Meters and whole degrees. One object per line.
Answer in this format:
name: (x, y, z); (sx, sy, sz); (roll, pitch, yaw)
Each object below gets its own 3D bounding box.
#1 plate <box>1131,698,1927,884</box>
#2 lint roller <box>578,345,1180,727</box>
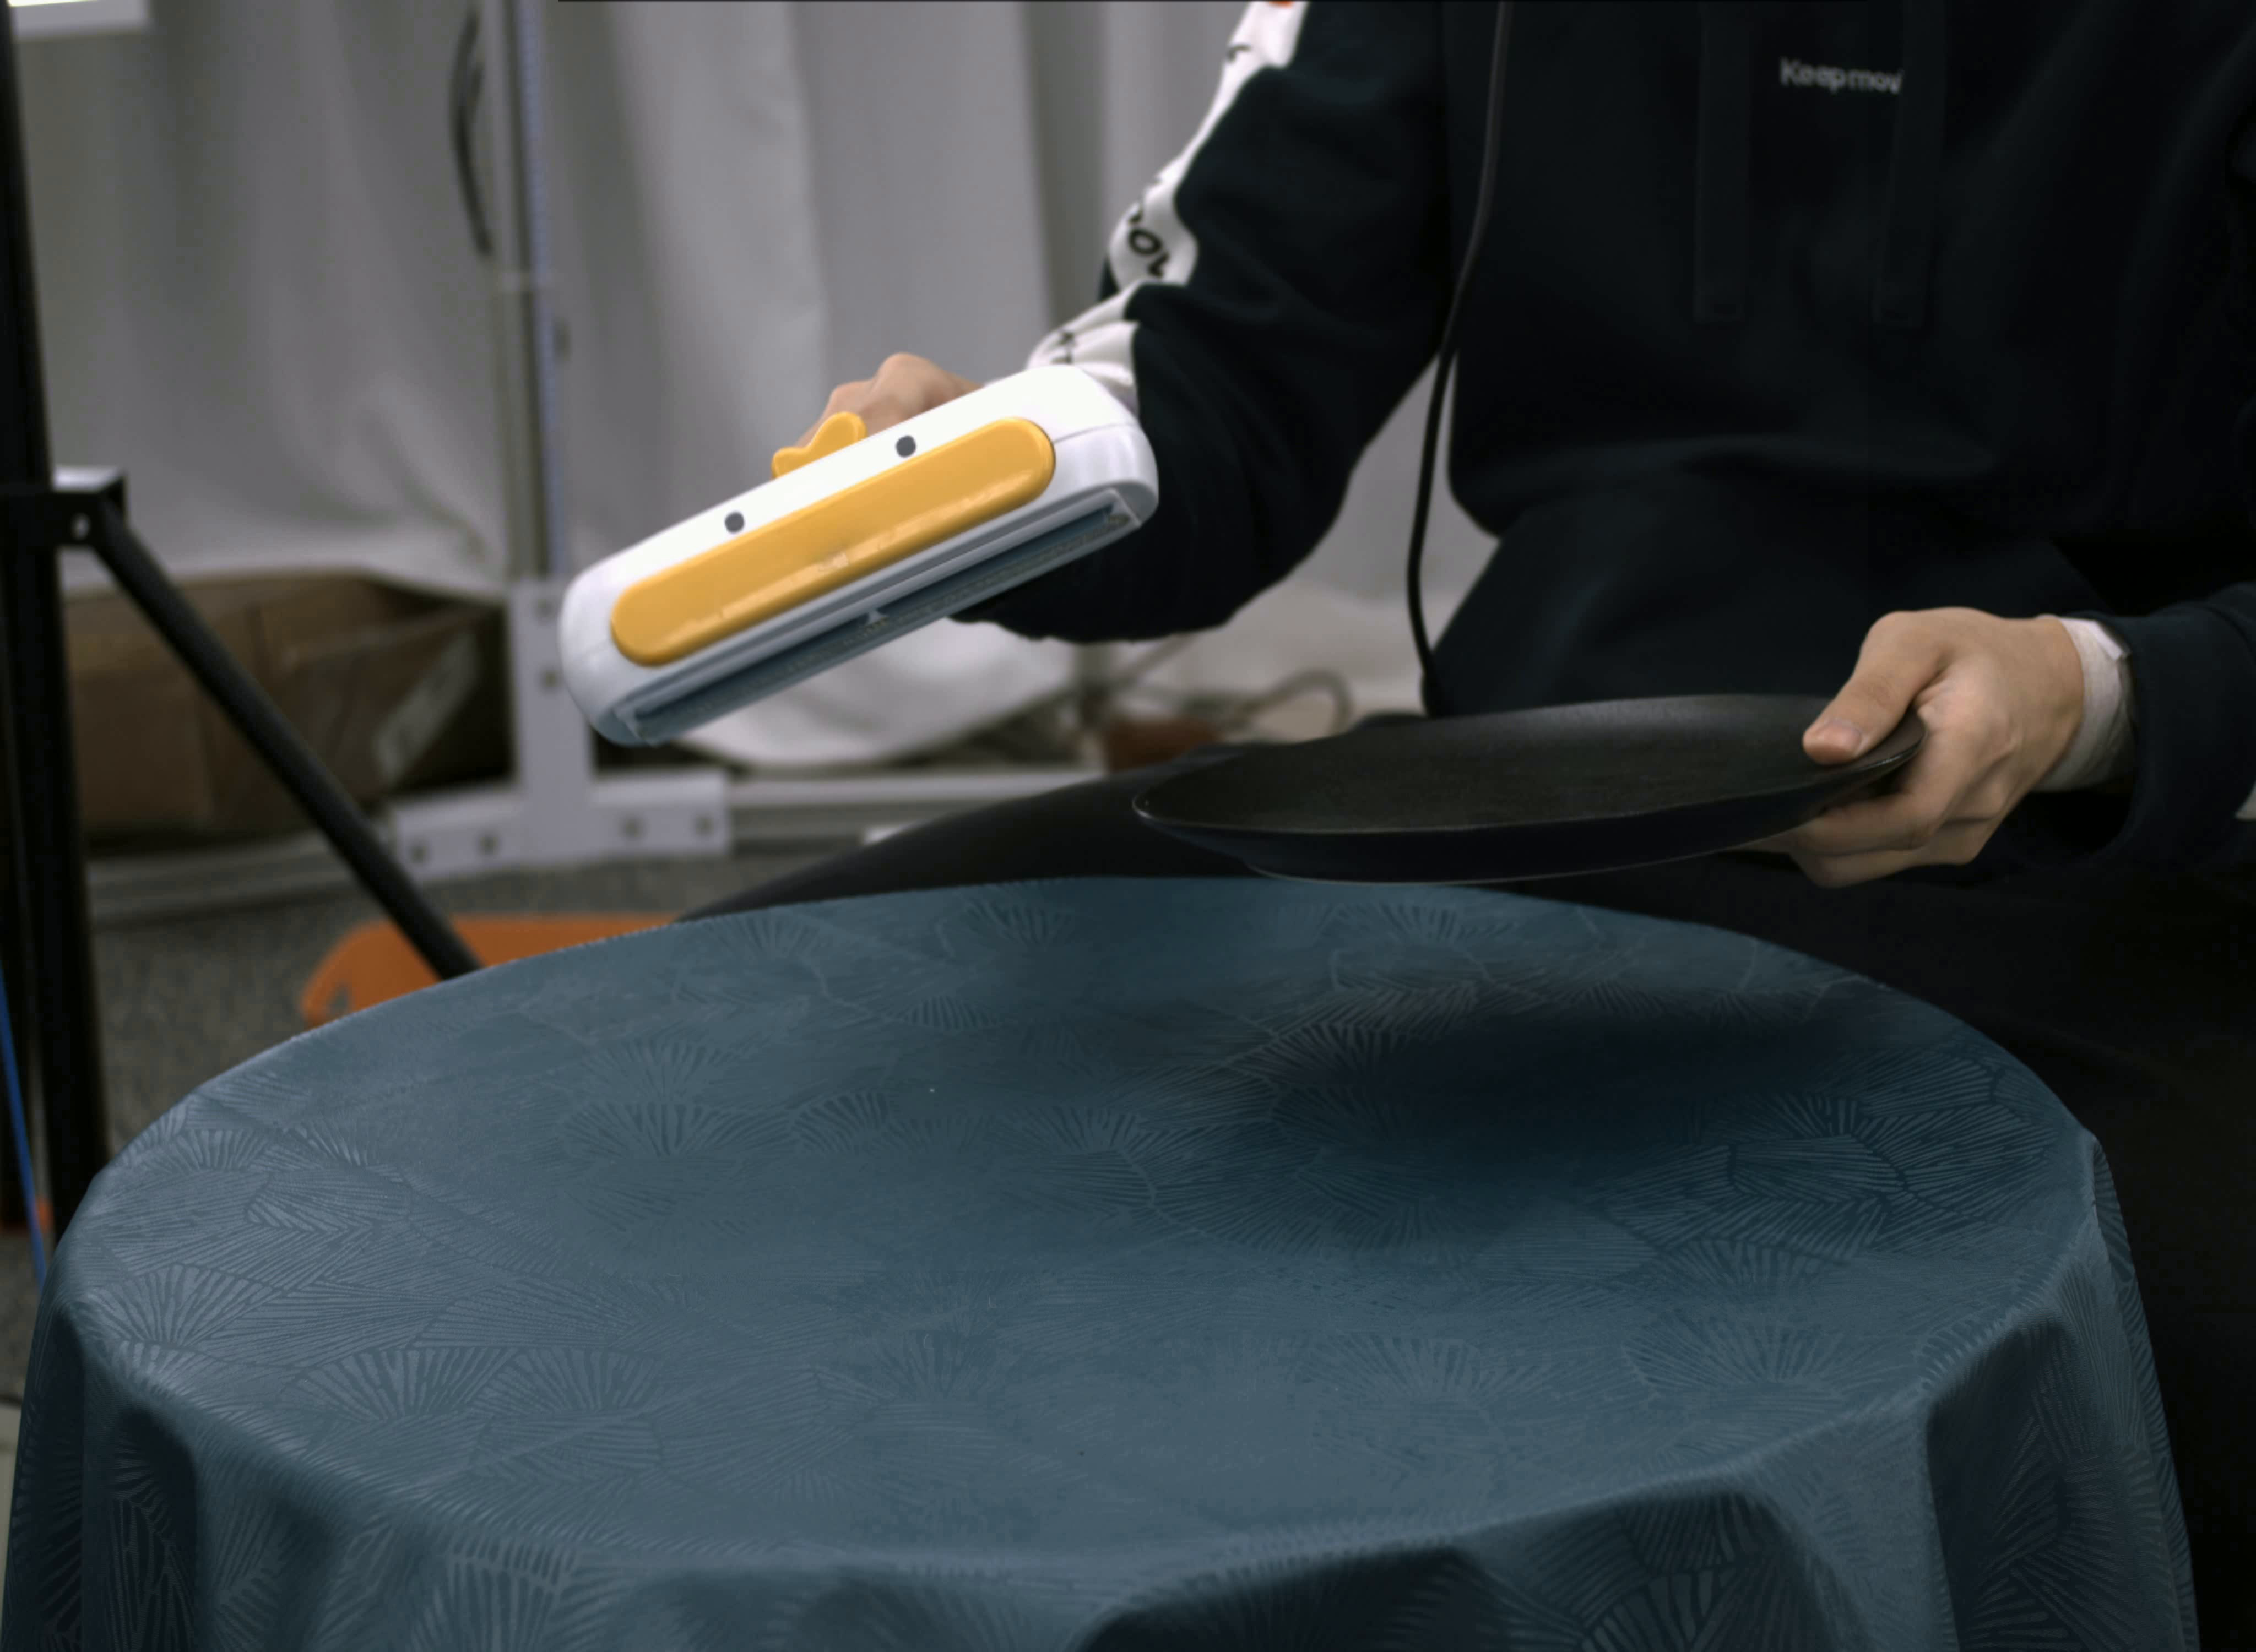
plate: (0.123, -0.009, 1.622); (0.243, 0.023, 0.245); (-6, 8, -1)
lint roller: (-0.076, -0.087, 1.690); (0.192, 0.075, 0.191); (-27, -8, 3)
